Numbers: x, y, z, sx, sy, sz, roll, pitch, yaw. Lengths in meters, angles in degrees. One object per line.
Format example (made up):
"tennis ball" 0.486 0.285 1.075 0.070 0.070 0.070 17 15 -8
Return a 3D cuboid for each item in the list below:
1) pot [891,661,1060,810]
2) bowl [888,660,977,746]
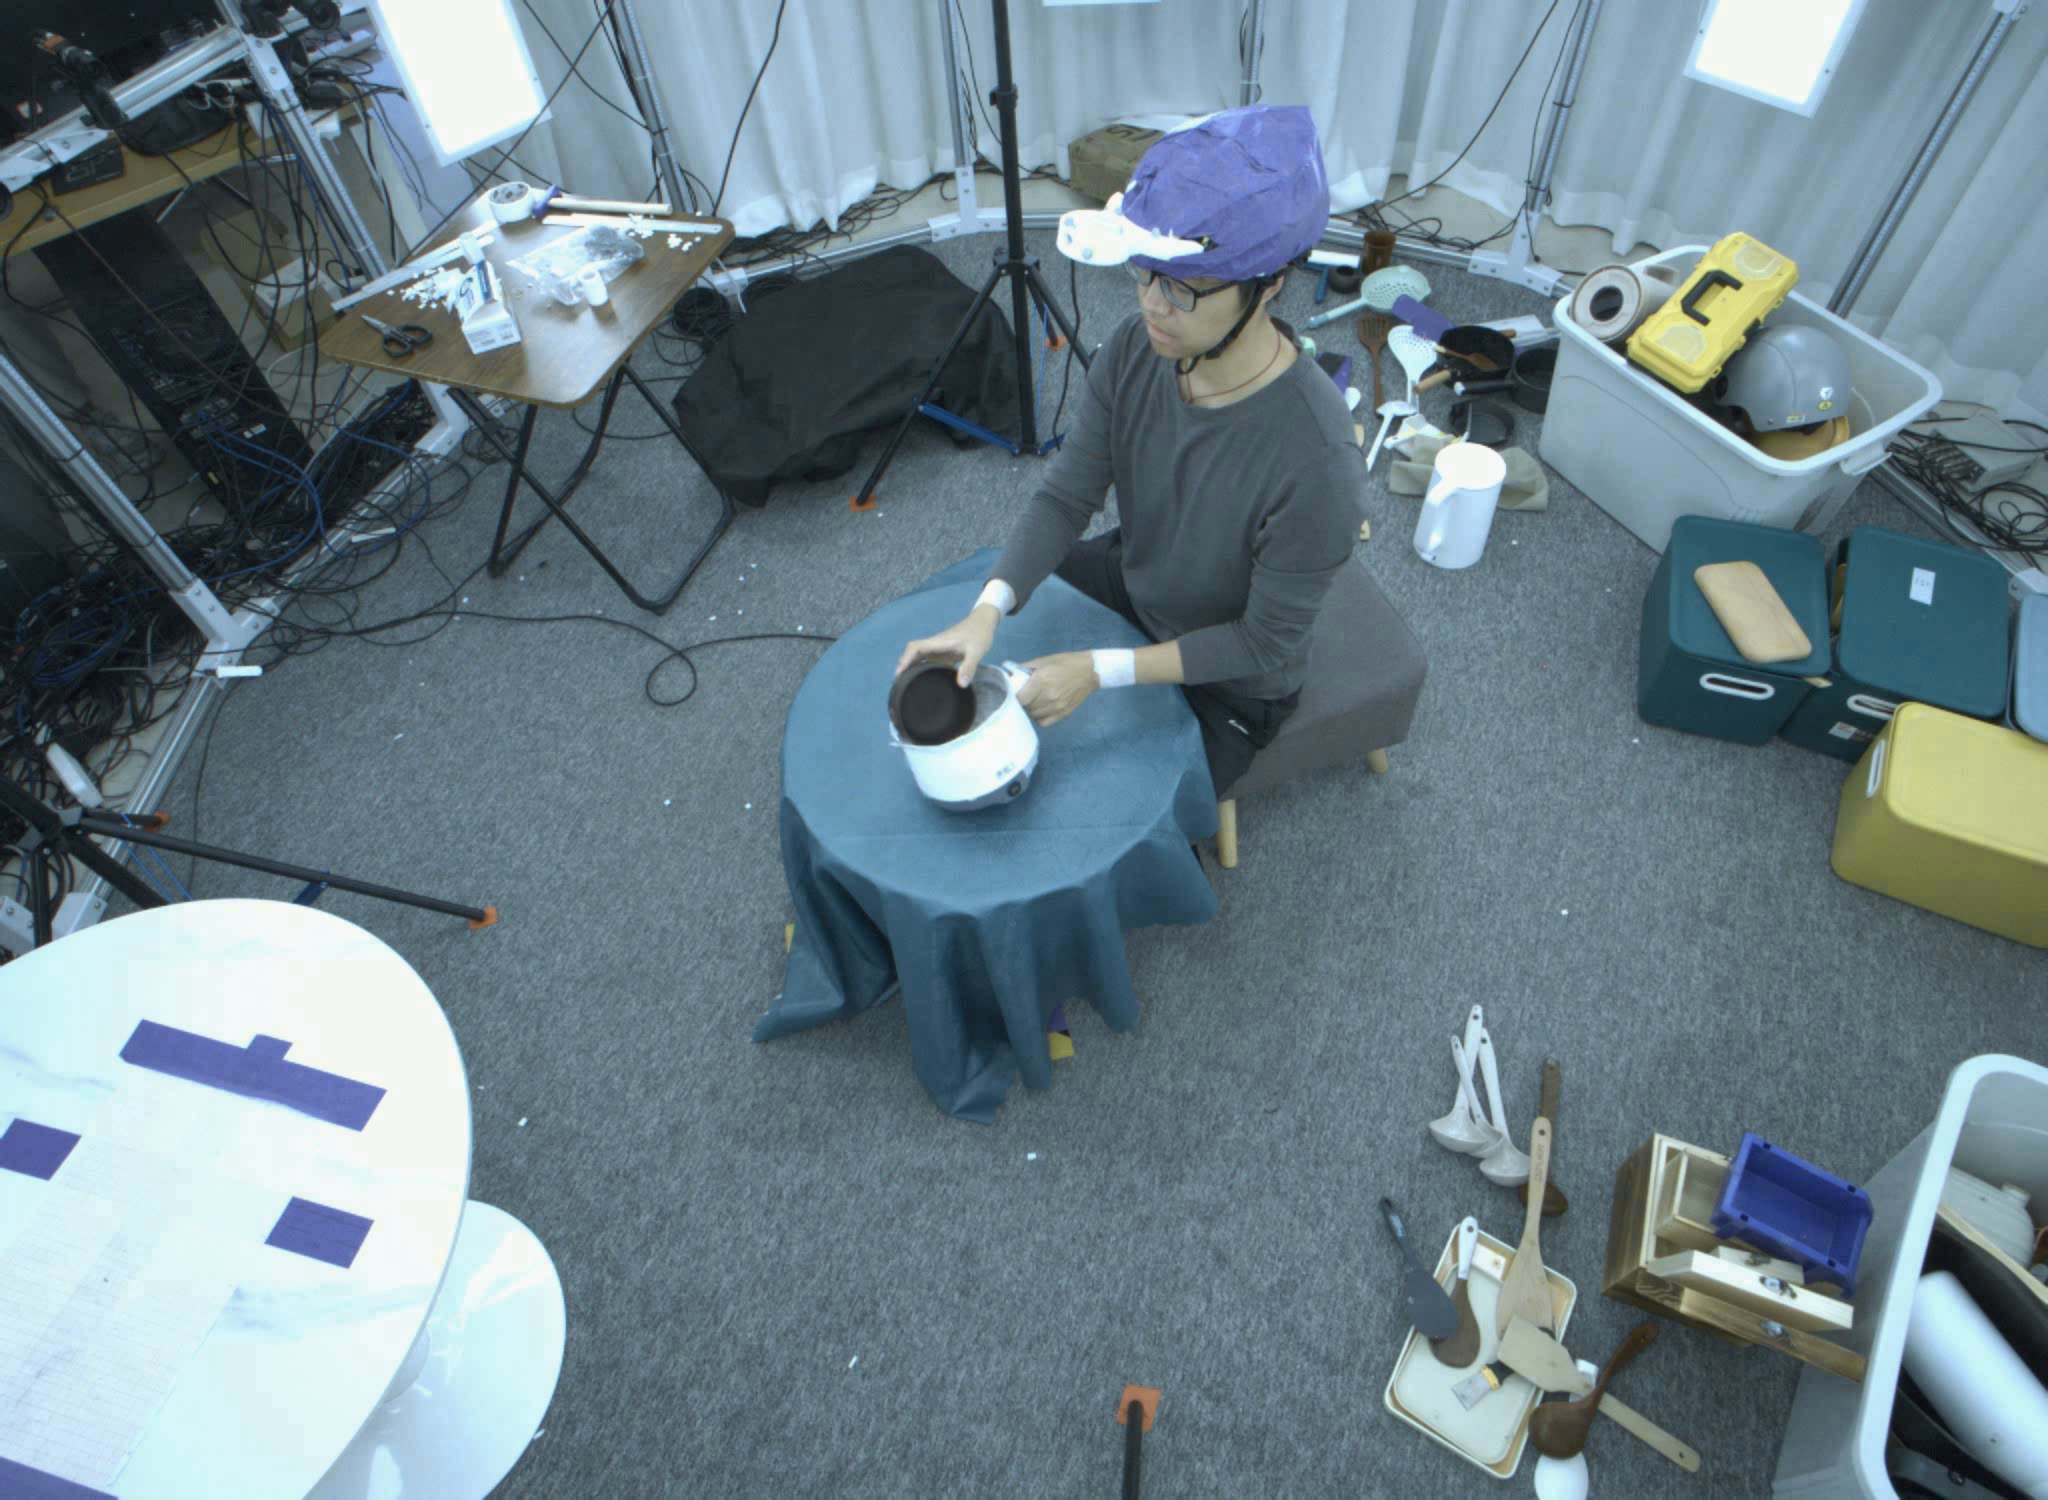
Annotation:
"pot" -0.057 -0.030 1.709 0.235 0.139 0.174 -38 39 -19
"bowl" -0.129 -0.064 1.649 0.119 0.120 0.068 -33 27 -19
